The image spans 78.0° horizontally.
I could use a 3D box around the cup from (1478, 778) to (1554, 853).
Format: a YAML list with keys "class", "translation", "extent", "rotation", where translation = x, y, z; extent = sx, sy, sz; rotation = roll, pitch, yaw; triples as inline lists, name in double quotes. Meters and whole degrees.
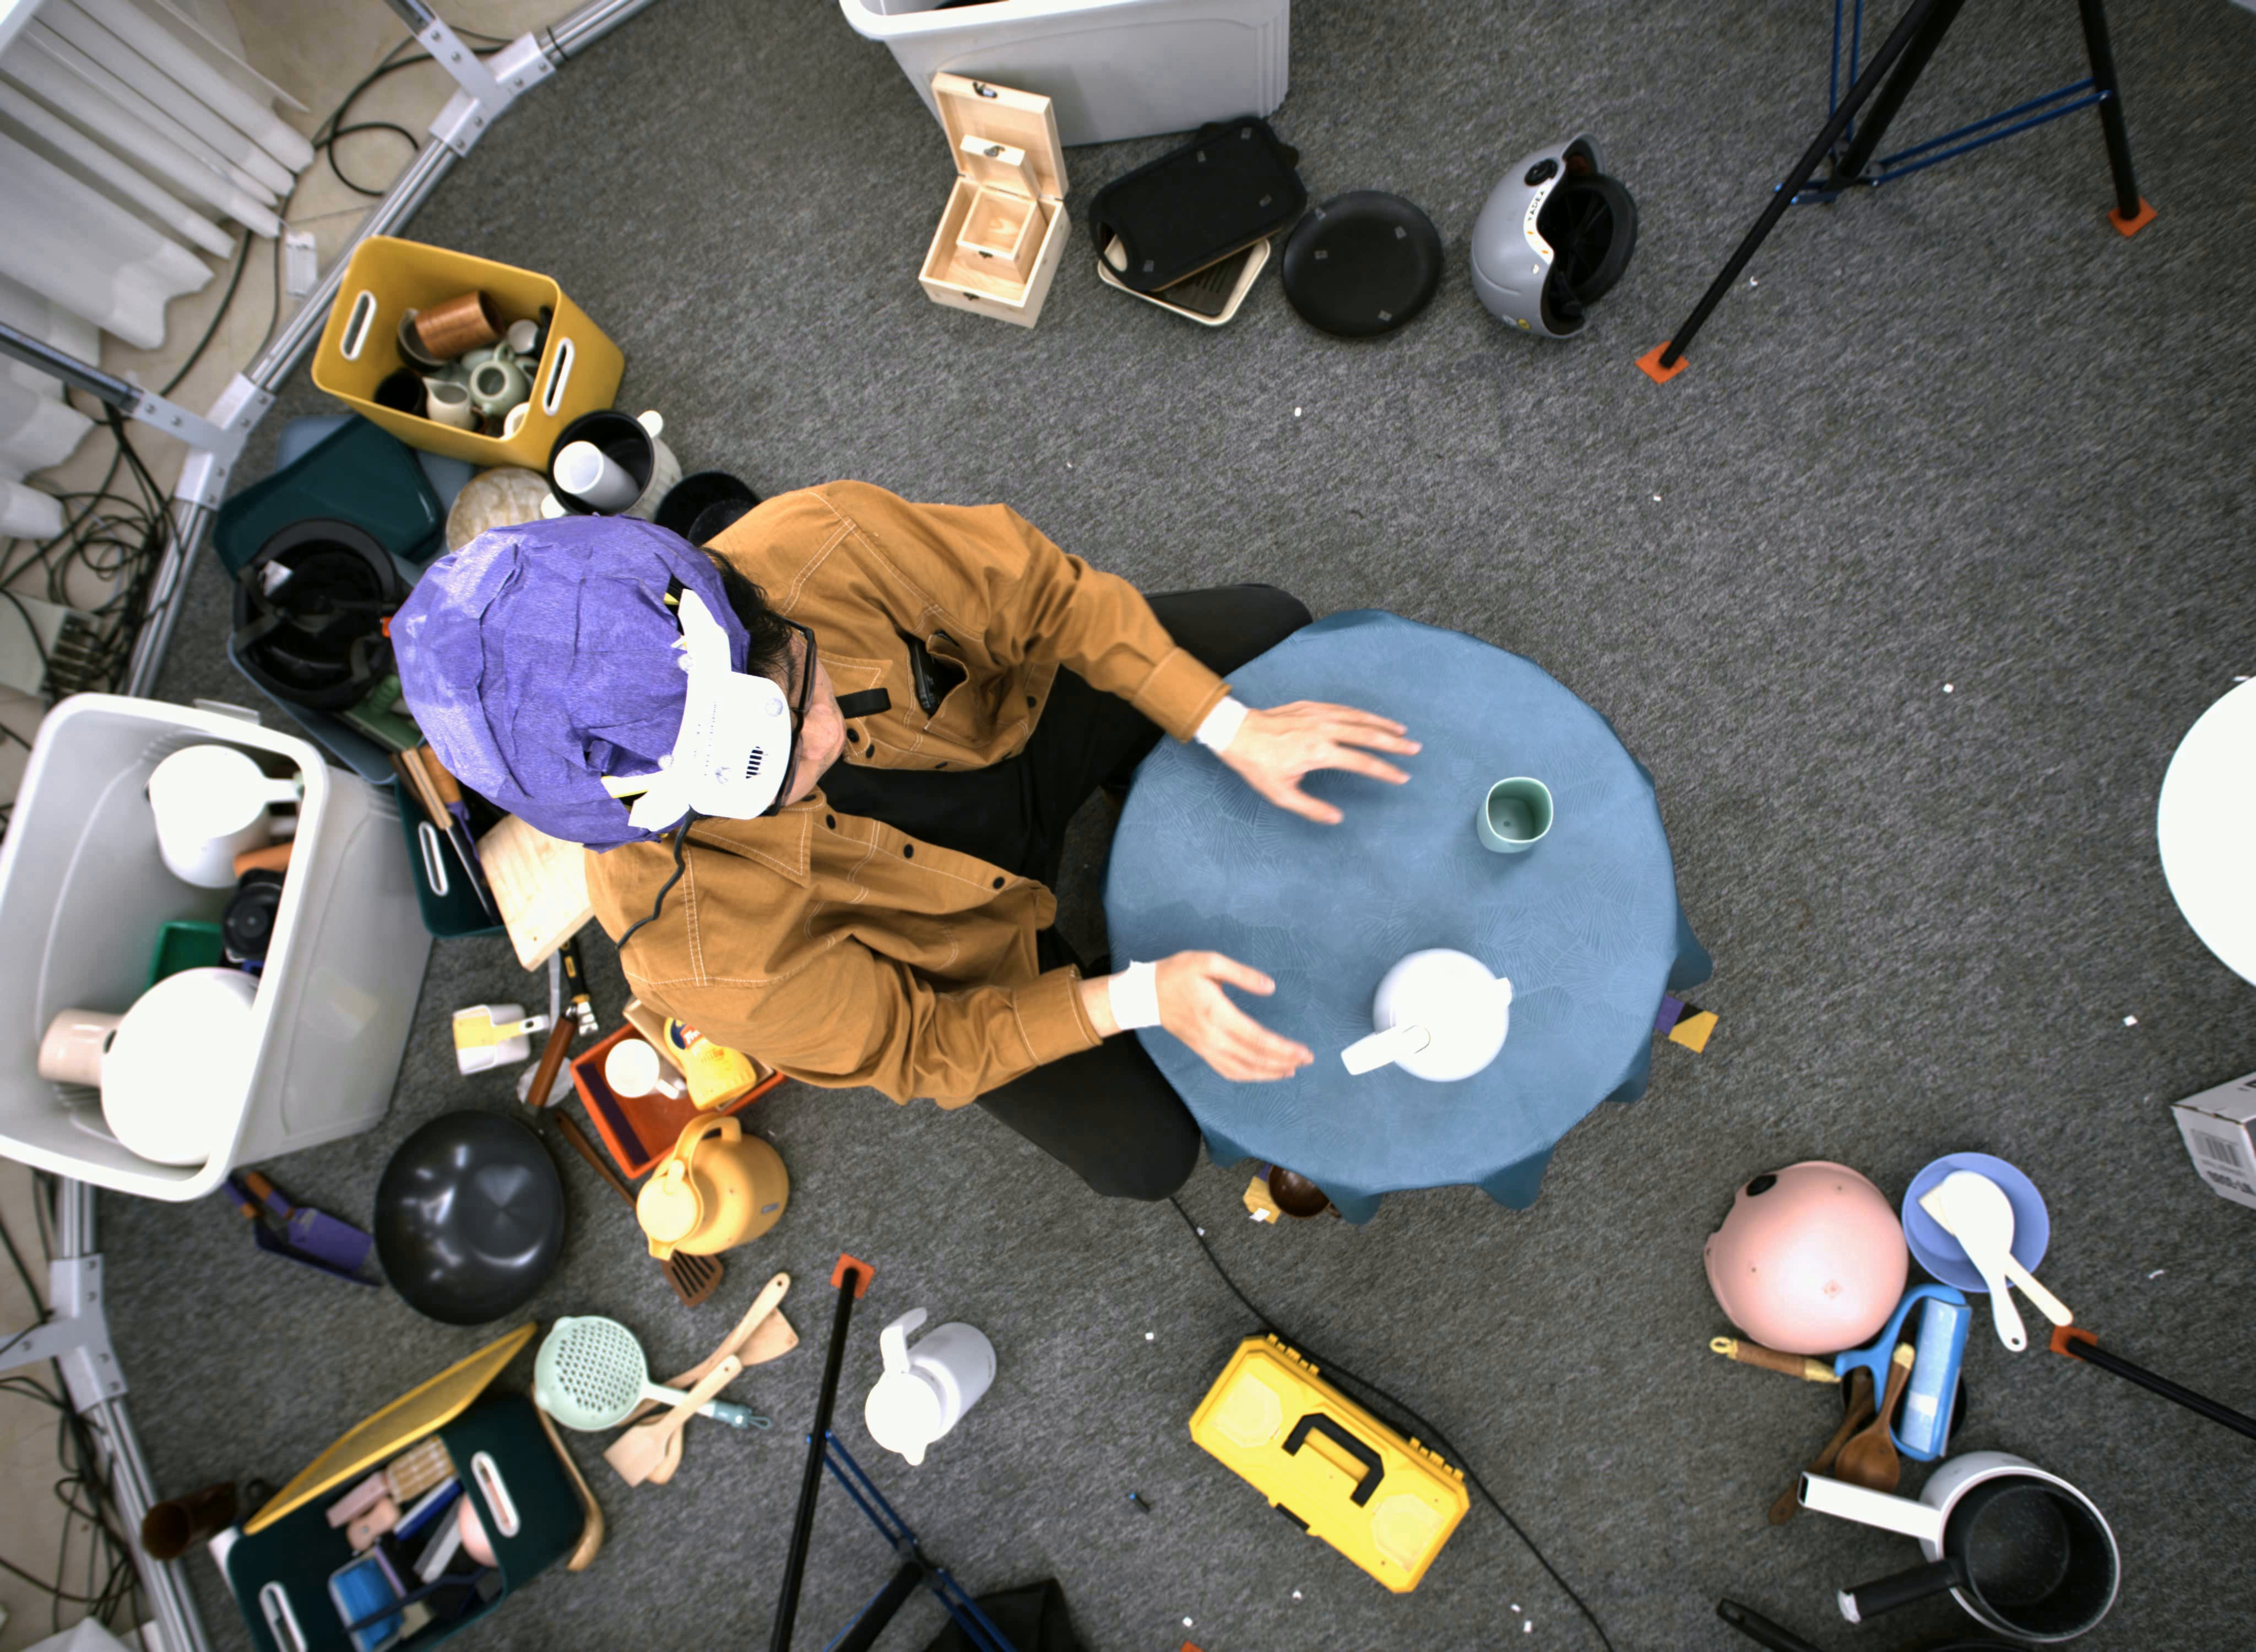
- class: "cup"
  translation: [0.386, -0.011, 1.380]
  extent: [0.067, 0.132, 0.066]
  rotation: [-1, 84, 10]

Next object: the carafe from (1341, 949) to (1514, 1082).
- class: "carafe"
  translation: [0.285, 0.191, 1.327]
  extent: [0.169, 0.249, 0.131]
  rotation: [-28, 81, 8]
